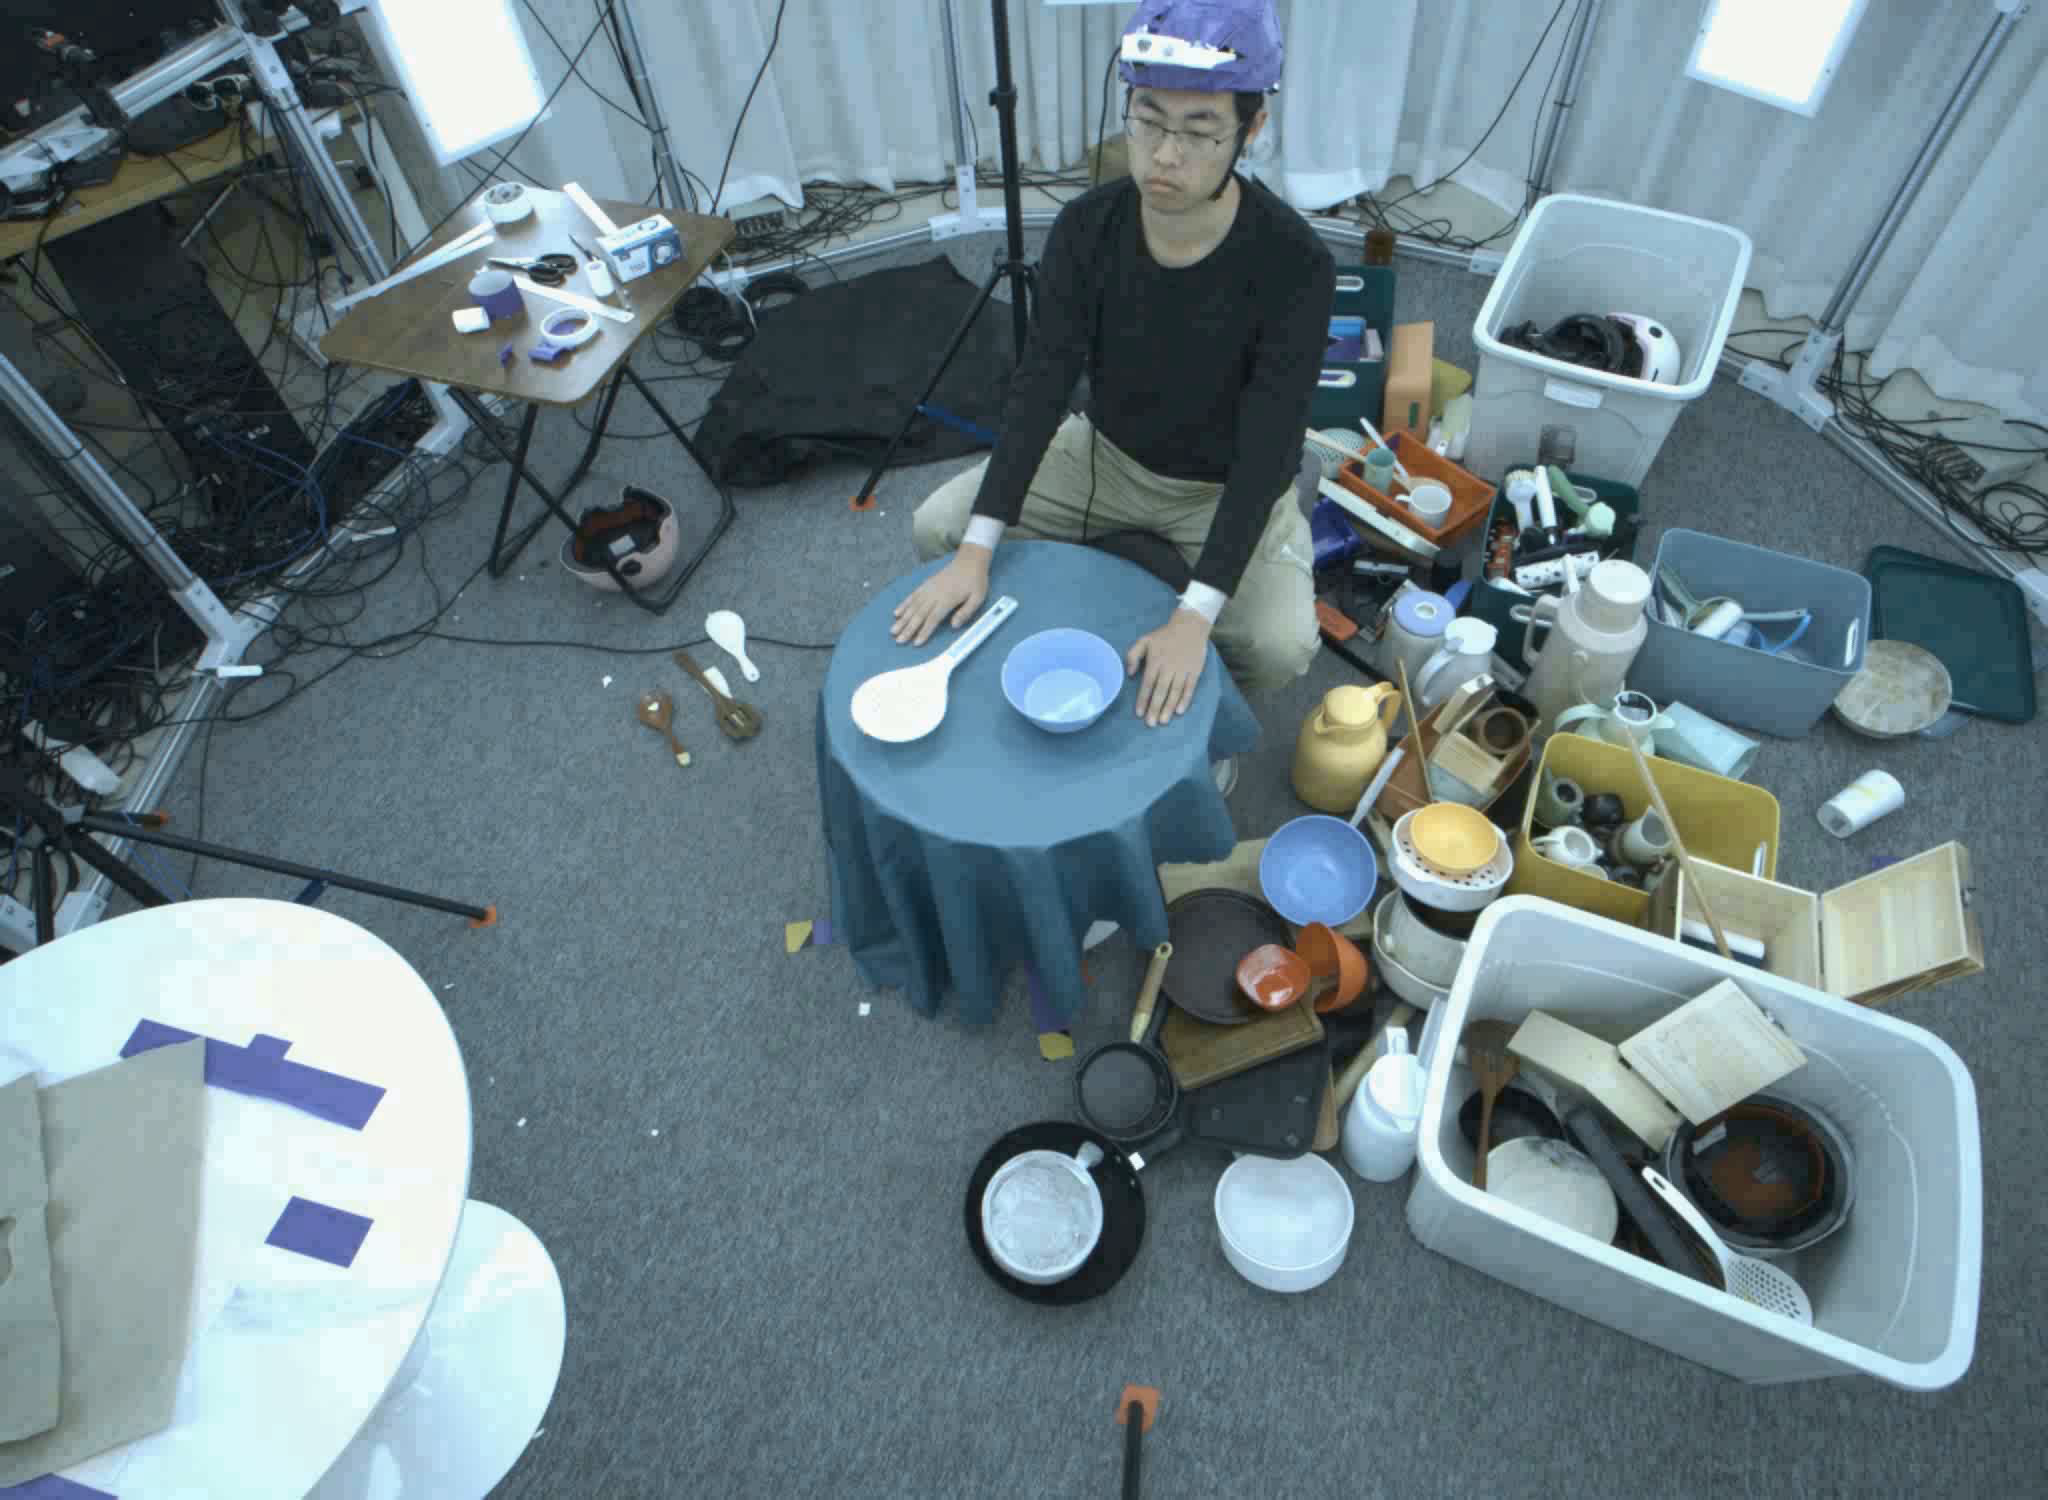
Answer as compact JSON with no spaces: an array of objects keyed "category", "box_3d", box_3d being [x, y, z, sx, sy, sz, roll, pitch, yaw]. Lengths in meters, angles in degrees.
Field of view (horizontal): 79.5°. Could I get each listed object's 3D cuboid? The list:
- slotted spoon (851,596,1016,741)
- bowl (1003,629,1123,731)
[{"category":"slotted spoon","box_3d":[-0.123,-0.129,1.855,0.134,0.046,0.351,28,59,20]},{"category":"bowl","box_3d":[0.057,-0.093,1.808,0.176,0.071,0.174,0,54,2]}]
